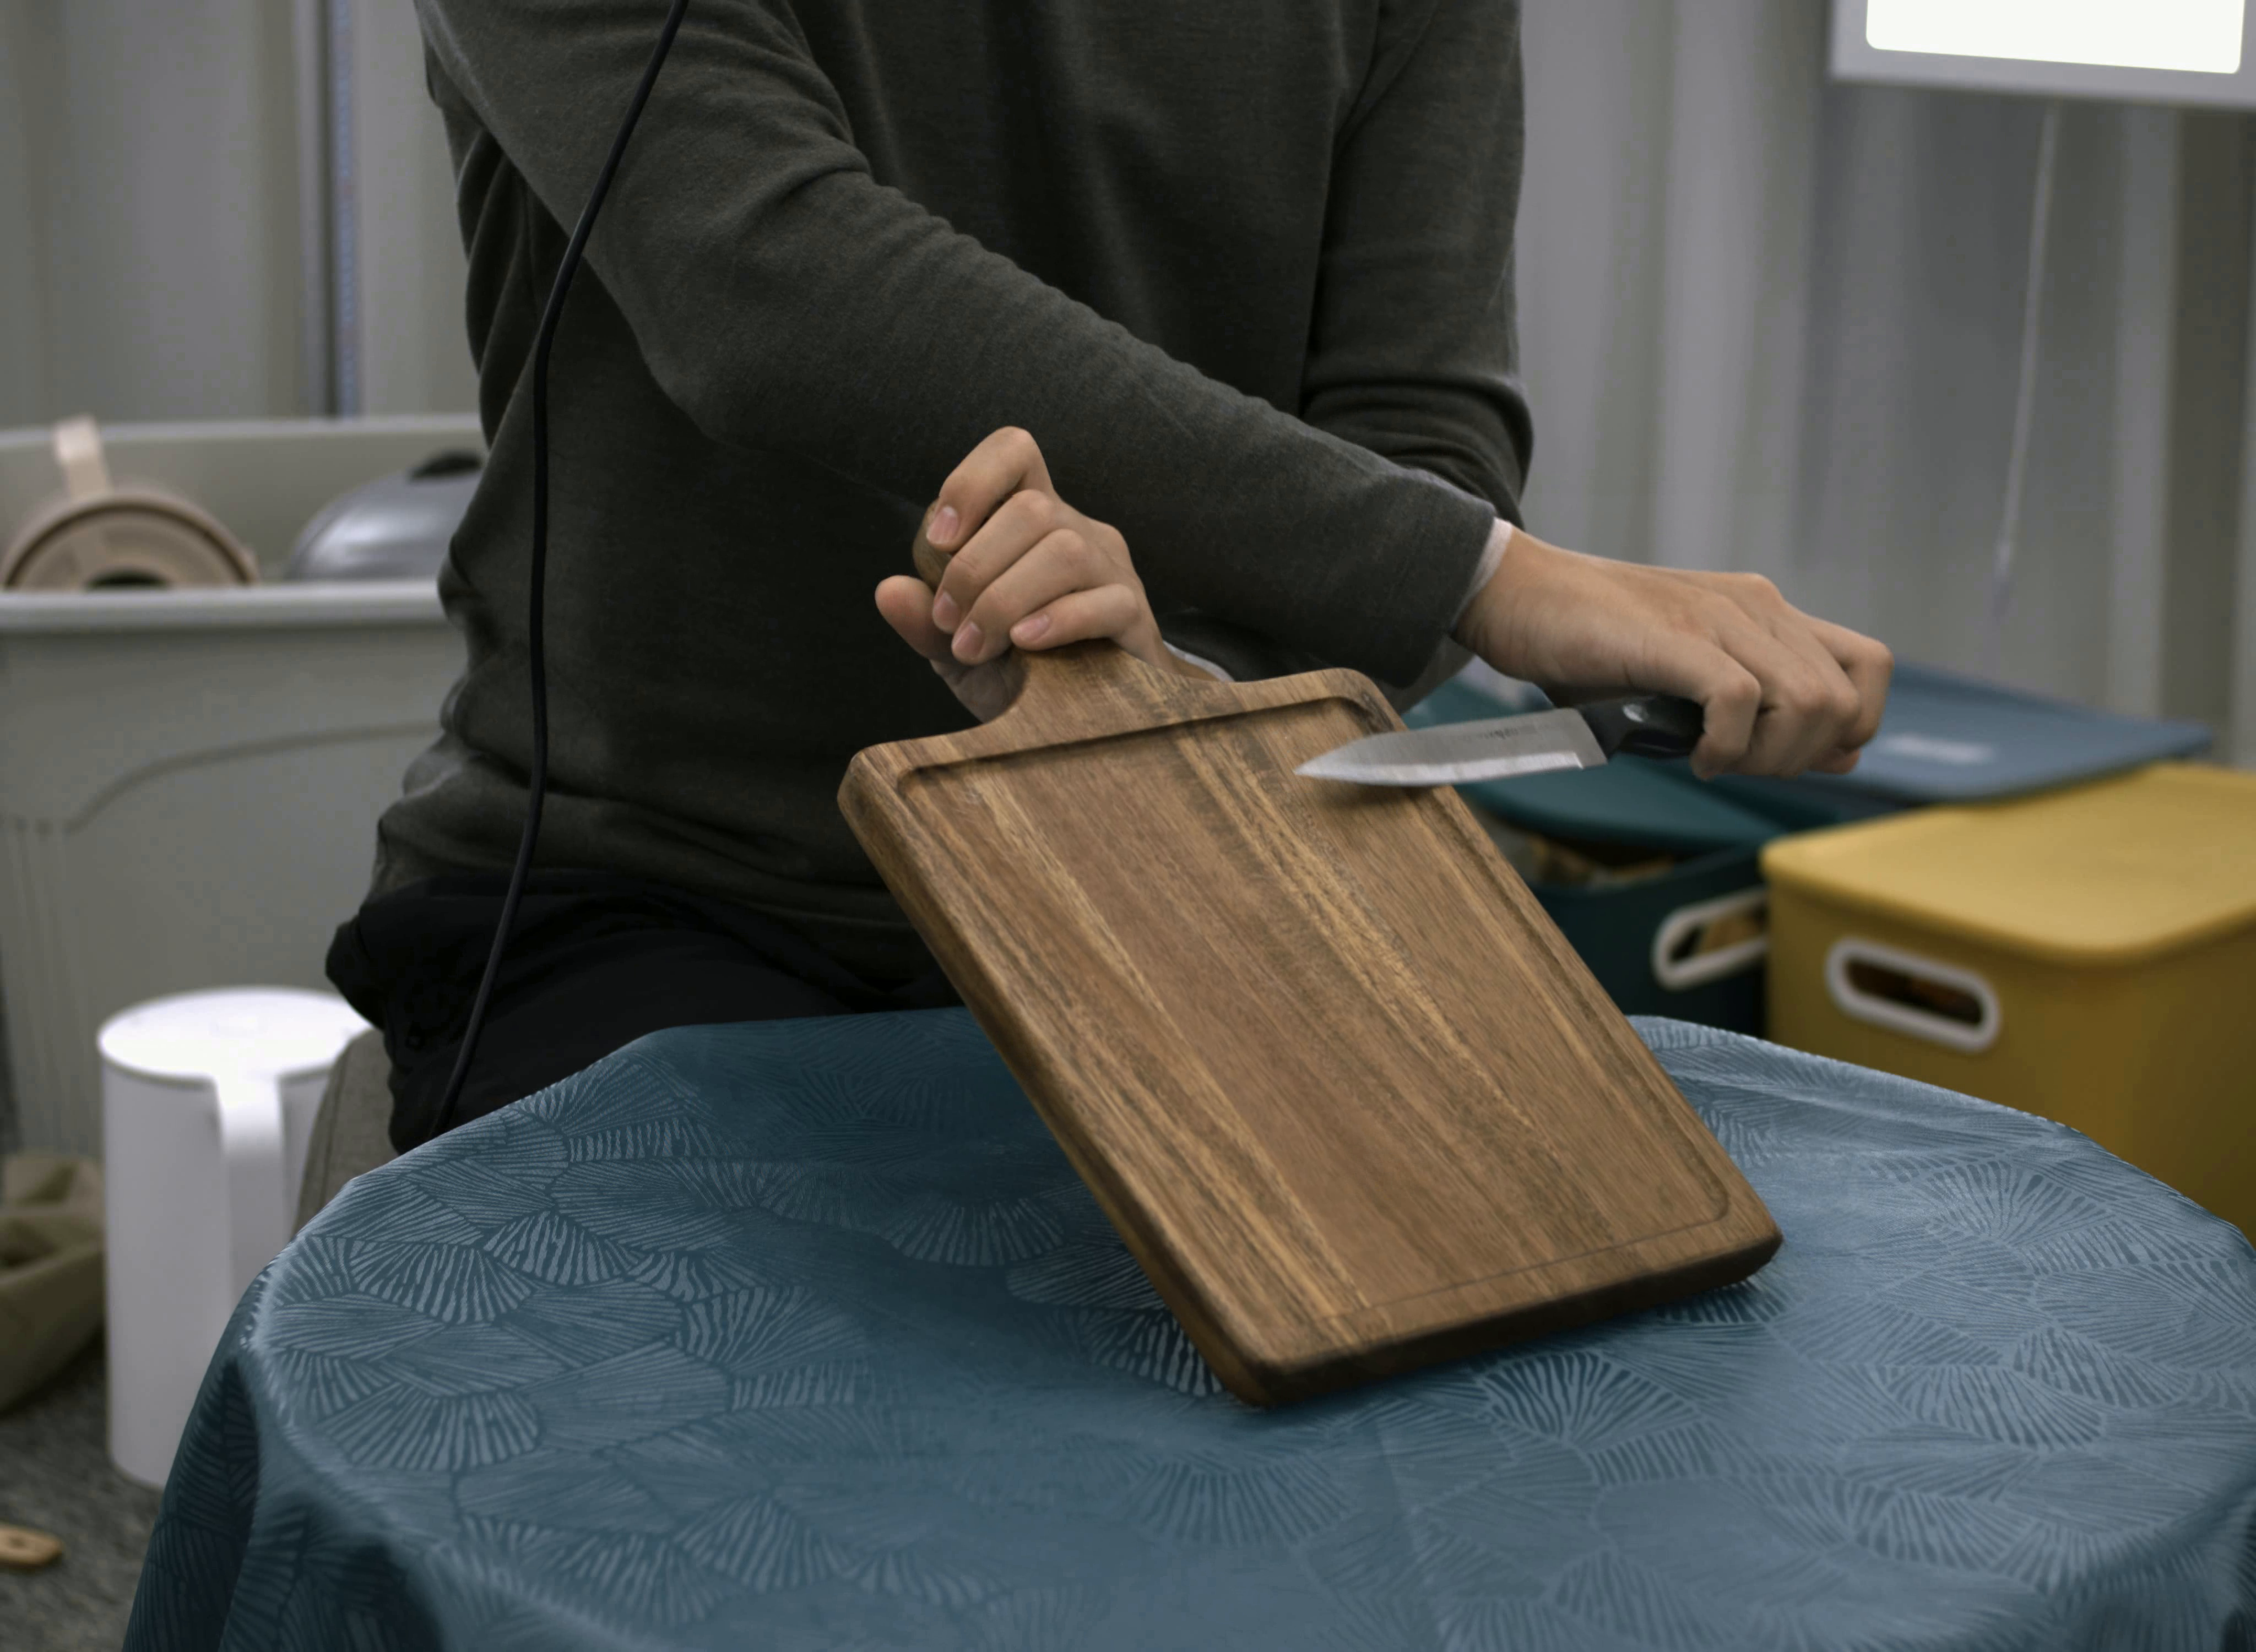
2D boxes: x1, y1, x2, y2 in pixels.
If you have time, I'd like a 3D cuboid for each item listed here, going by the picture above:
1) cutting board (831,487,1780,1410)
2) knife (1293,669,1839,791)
[{"bbox_3d":[0.028,0.020,1.584,0.202,0.023,0.348,-11,51,-35],"label":"cutting board"},{"bbox_3d":[0.141,-0.030,1.685,0.239,0.016,0.024,-9,57,-39],"label":"knife"}]
